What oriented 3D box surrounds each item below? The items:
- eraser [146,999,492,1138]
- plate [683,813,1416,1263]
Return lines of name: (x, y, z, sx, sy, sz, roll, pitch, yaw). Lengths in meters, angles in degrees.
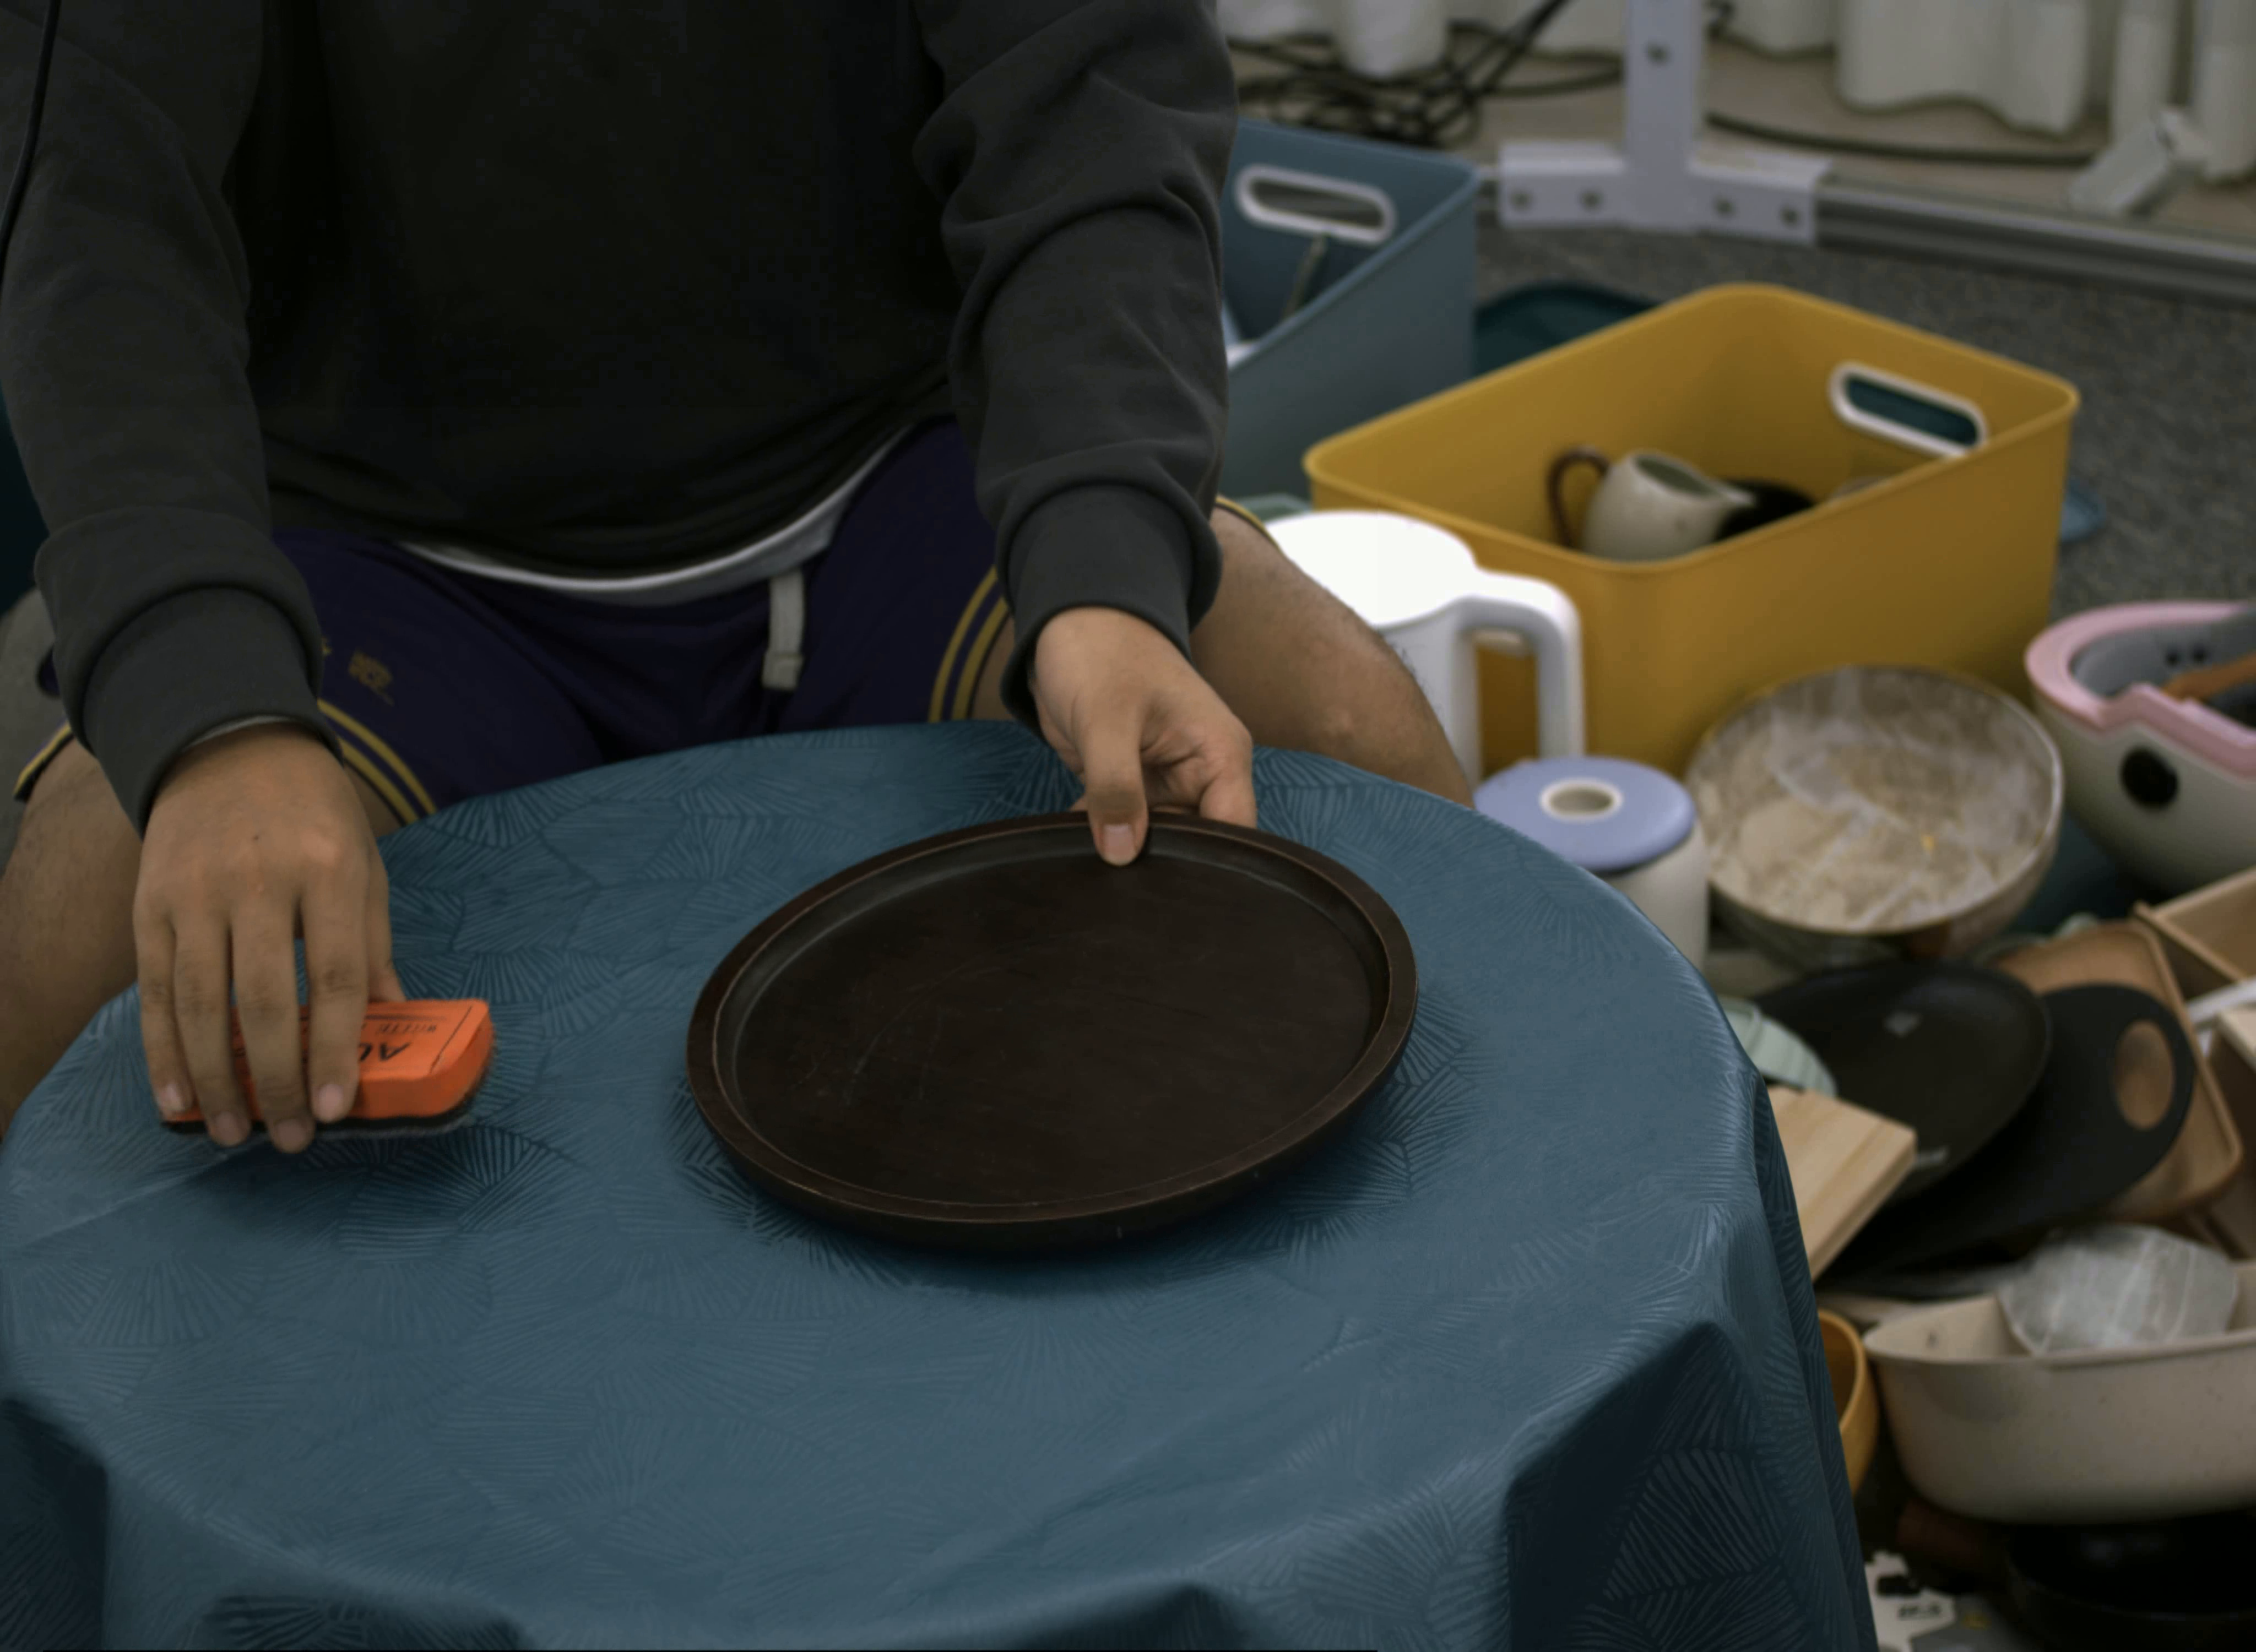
eraser: (-0.273, 0.083, 1.901, 0.107, 0.022, 0.060, -3, 24, 15)
plate: (-0.026, 0.070, 1.921, 0.253, 0.029, 0.259, -6, 31, 4)
